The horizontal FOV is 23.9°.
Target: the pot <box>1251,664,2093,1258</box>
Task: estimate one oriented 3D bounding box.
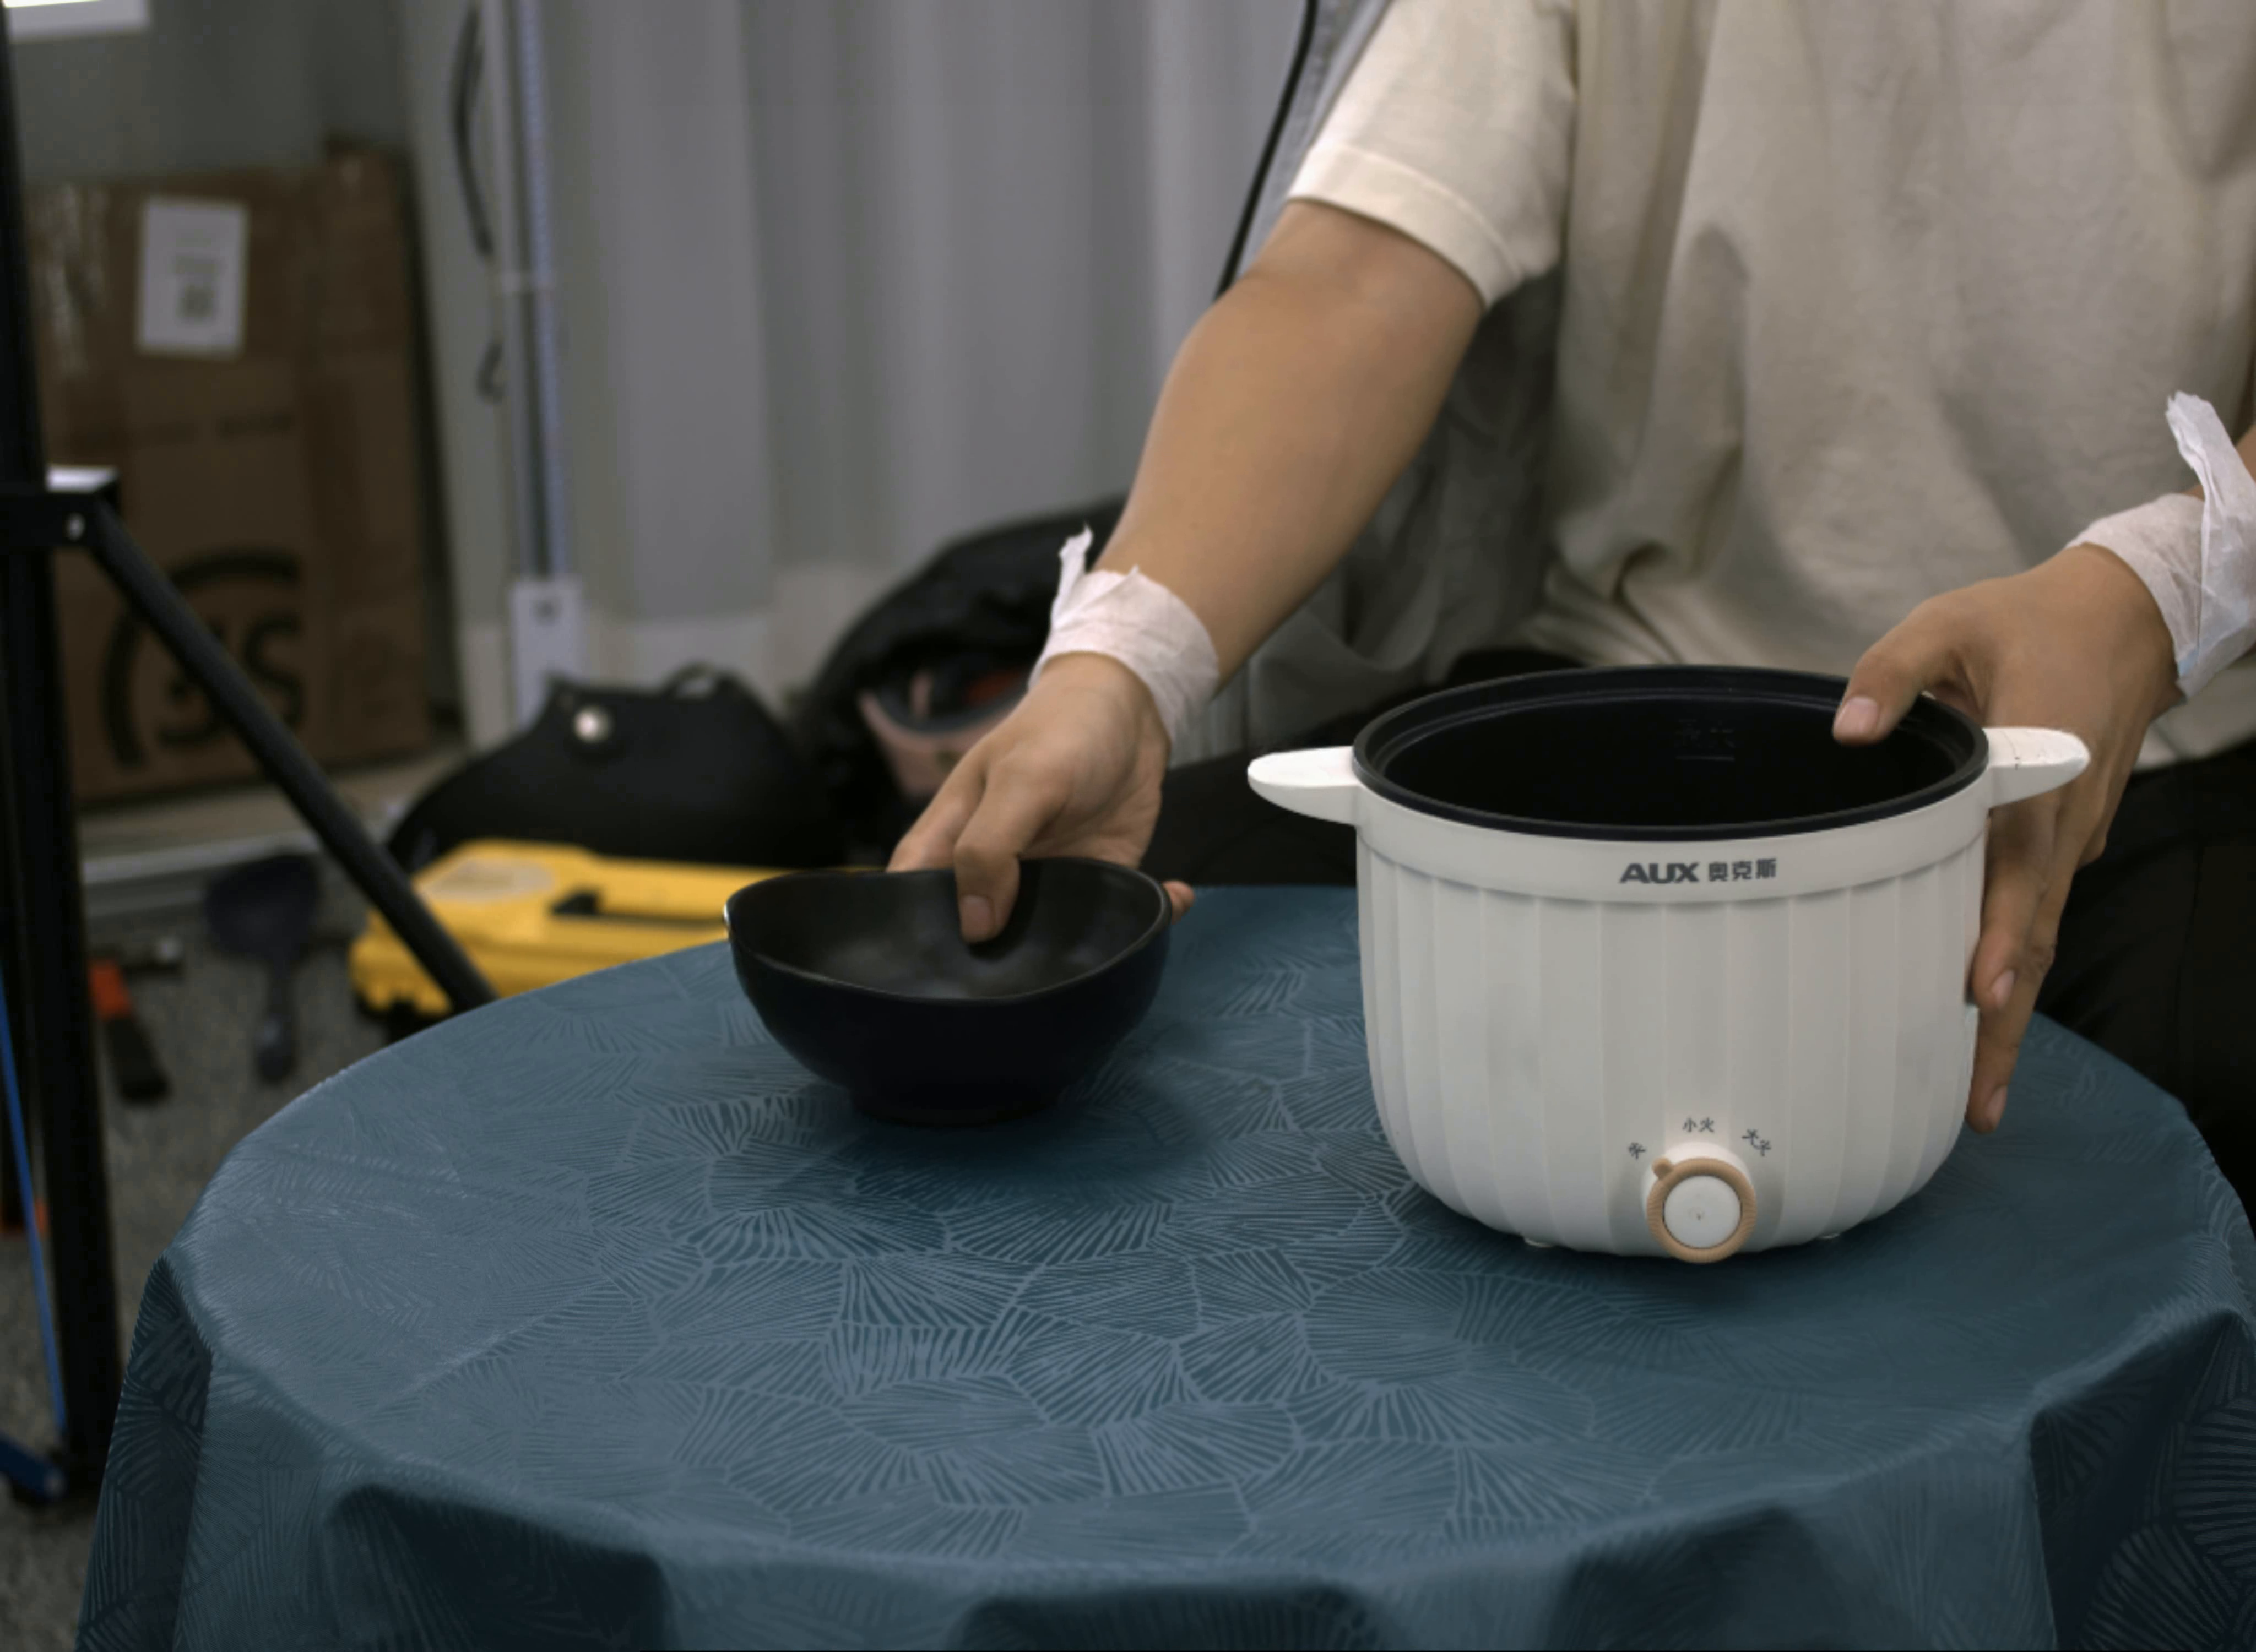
[{"bbox_3d":[0.157,0.041,1.513,0.239,0.143,0.191,-3,12,2],"label":"pot"}]

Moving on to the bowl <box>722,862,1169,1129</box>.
[{"bbox_3d":[-0.056,0.054,1.641,0.136,0.067,0.172,-3,14,-9],"label":"bowl"}]
